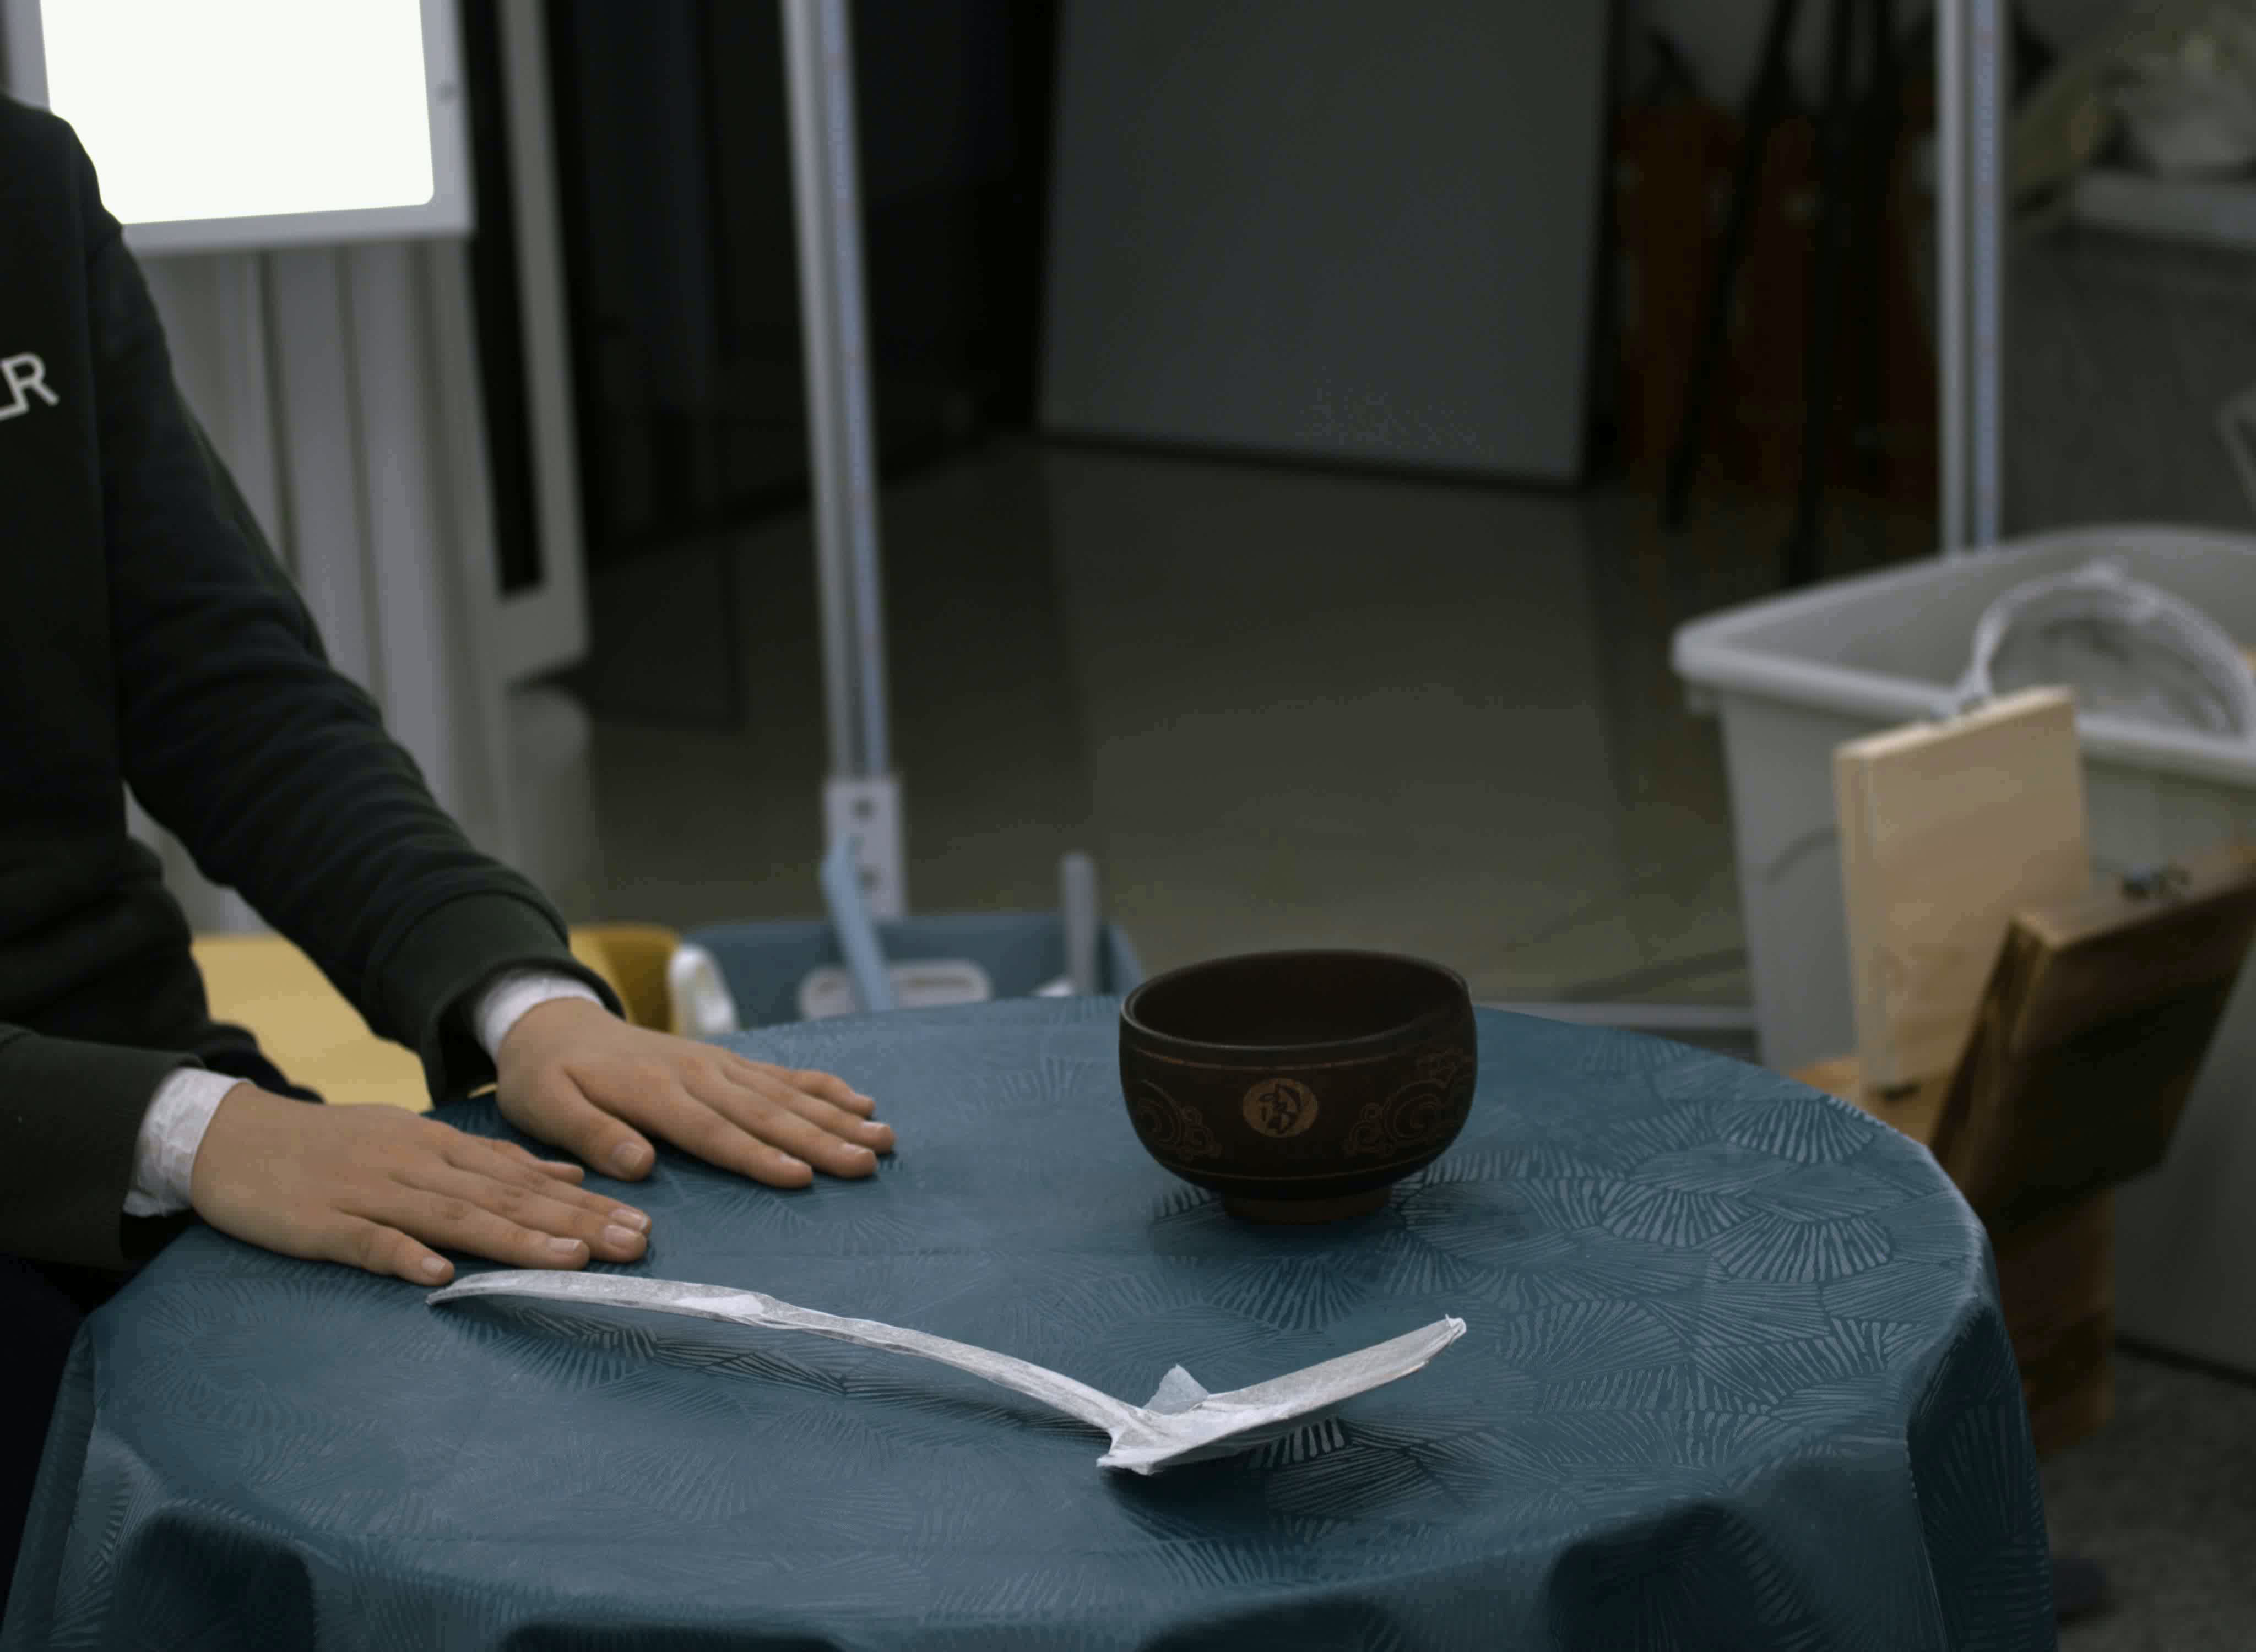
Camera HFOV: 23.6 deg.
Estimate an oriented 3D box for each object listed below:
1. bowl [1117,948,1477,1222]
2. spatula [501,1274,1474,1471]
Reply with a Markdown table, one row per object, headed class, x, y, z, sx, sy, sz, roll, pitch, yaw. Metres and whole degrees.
| class | x | y | z | sx | sy | sz | roll | pitch | yaw |
| --- | --- | --- | --- | --- | --- | --- | --- | --- | --- |
| bowl | 0.056 | 0.087 | 1.744 | 0.116 | 0.070 | 0.118 | -4 | 12 | 0 |
| spatula | -0.062 | 0.149 | 1.596 | 0.367 | 0.045 | 0.097 | 7 | 20 | 38 |
